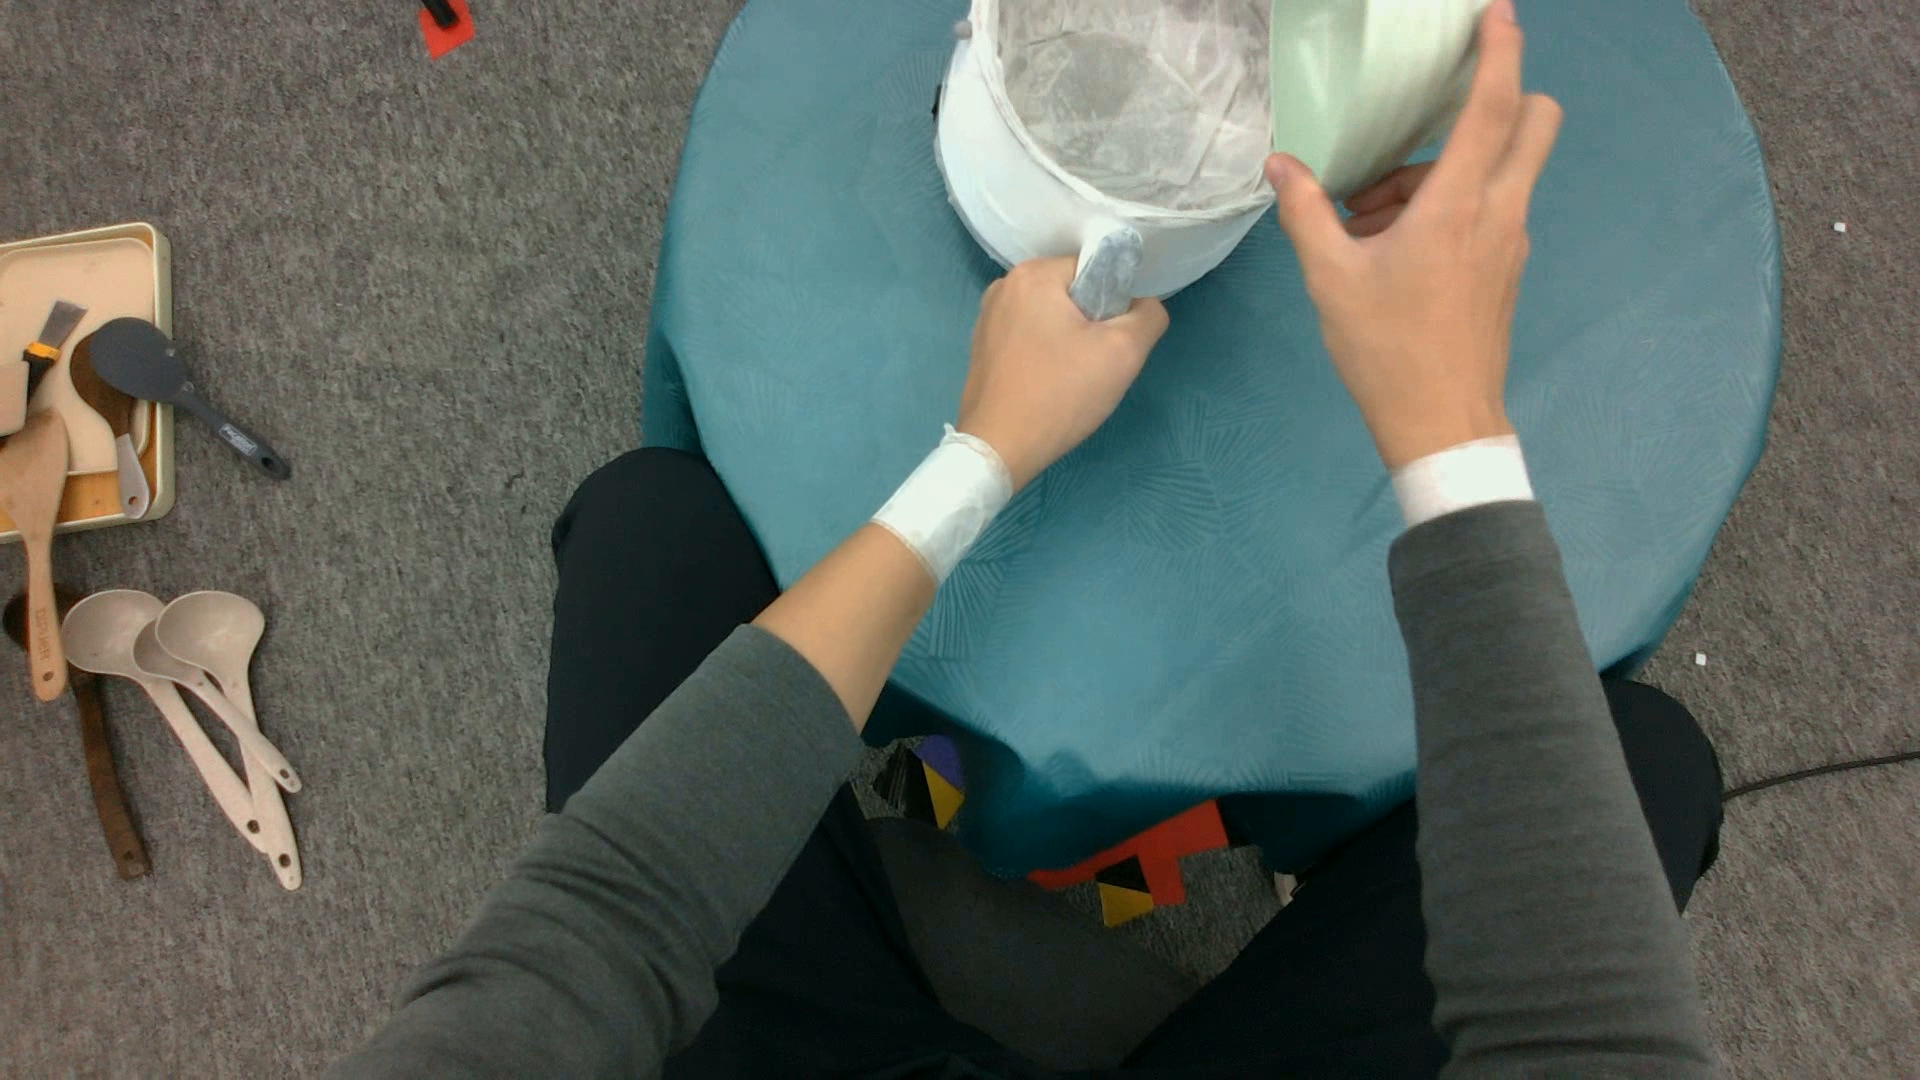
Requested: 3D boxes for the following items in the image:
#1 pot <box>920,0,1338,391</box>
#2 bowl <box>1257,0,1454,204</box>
[{"bbox_3d":[0.071,-0.193,0.675,0.179,0.136,0.234,13,77,-8],"label":"pot"},{"bbox_3d":[0.162,-0.216,0.570,0.058,0.151,0.152,0,77,3],"label":"bowl"}]
